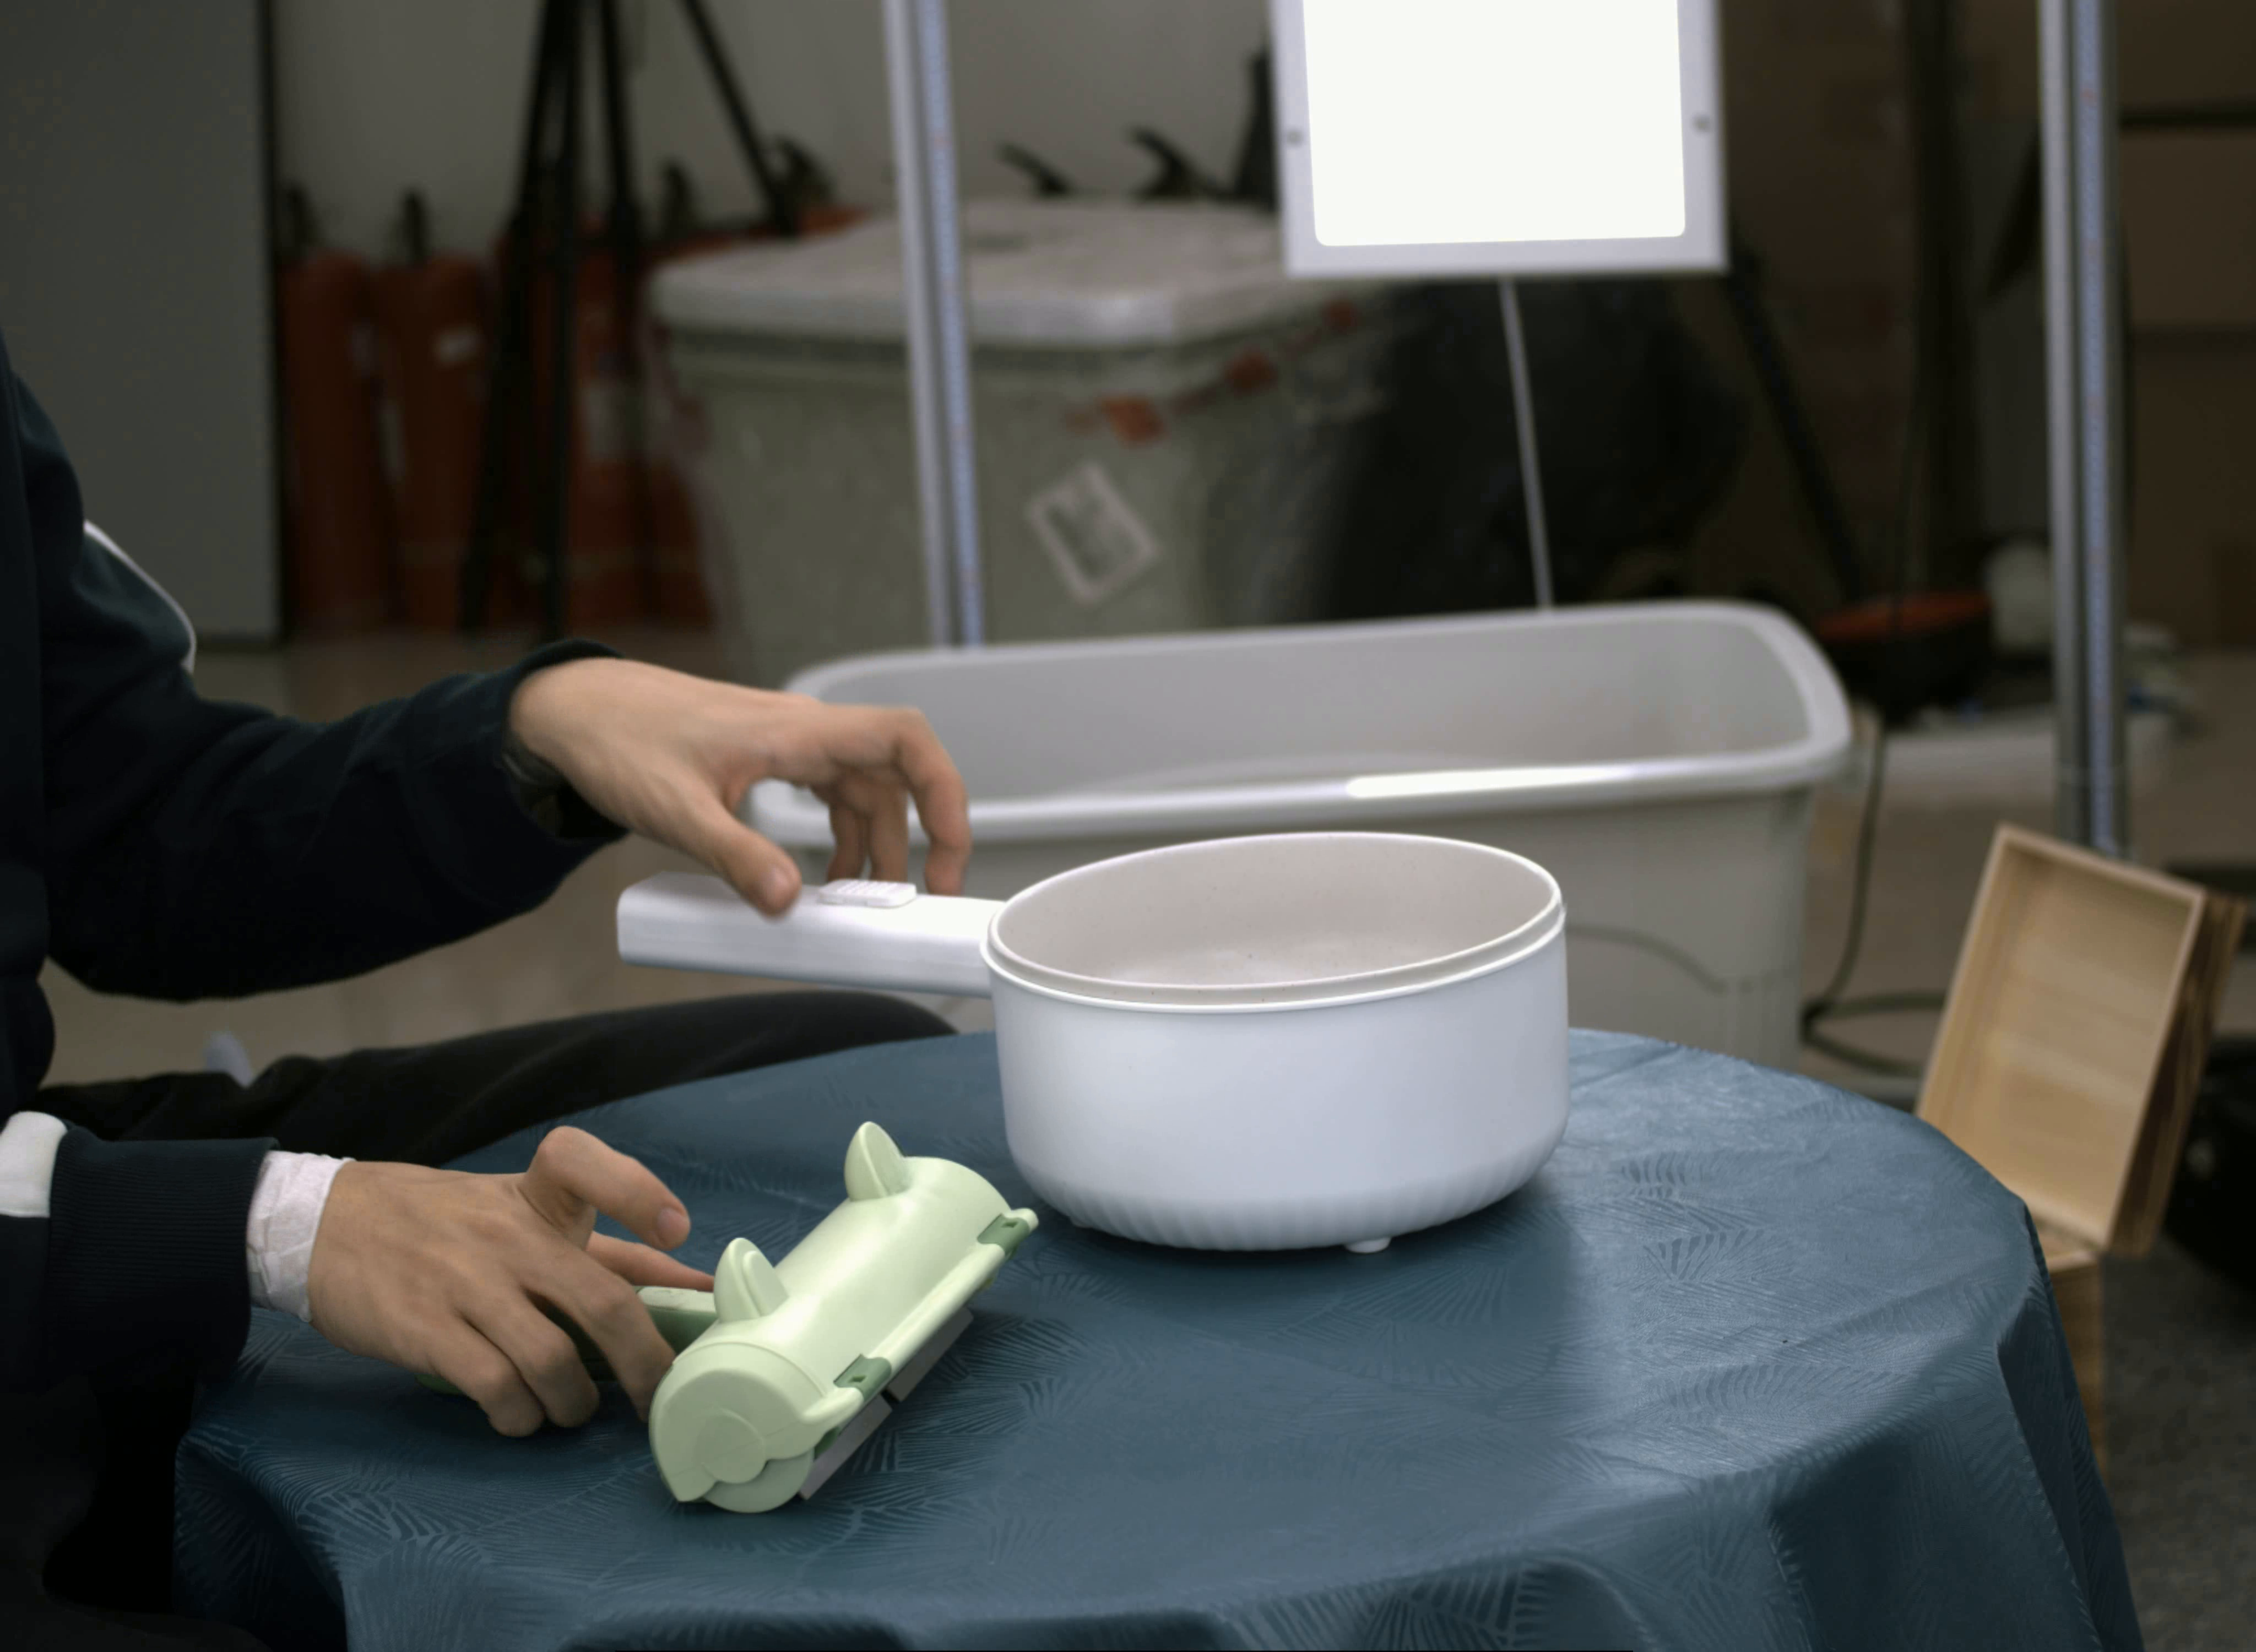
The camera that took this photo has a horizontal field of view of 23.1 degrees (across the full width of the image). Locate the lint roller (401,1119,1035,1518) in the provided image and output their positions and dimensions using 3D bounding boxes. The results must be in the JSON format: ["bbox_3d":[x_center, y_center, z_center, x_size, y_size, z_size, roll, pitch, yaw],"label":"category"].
[{"bbox_3d":[-0.142,0.143,1.718,0.185,0.082,0.195,6,17,17],"label":"lint roller"}]

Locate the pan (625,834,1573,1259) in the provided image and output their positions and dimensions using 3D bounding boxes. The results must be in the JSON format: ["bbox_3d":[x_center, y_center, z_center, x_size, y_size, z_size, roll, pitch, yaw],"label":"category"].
[{"bbox_3d":[-0.014,0.075,1.910,0.361,0.102,0.197,2,17,29],"label":"pan"}]
